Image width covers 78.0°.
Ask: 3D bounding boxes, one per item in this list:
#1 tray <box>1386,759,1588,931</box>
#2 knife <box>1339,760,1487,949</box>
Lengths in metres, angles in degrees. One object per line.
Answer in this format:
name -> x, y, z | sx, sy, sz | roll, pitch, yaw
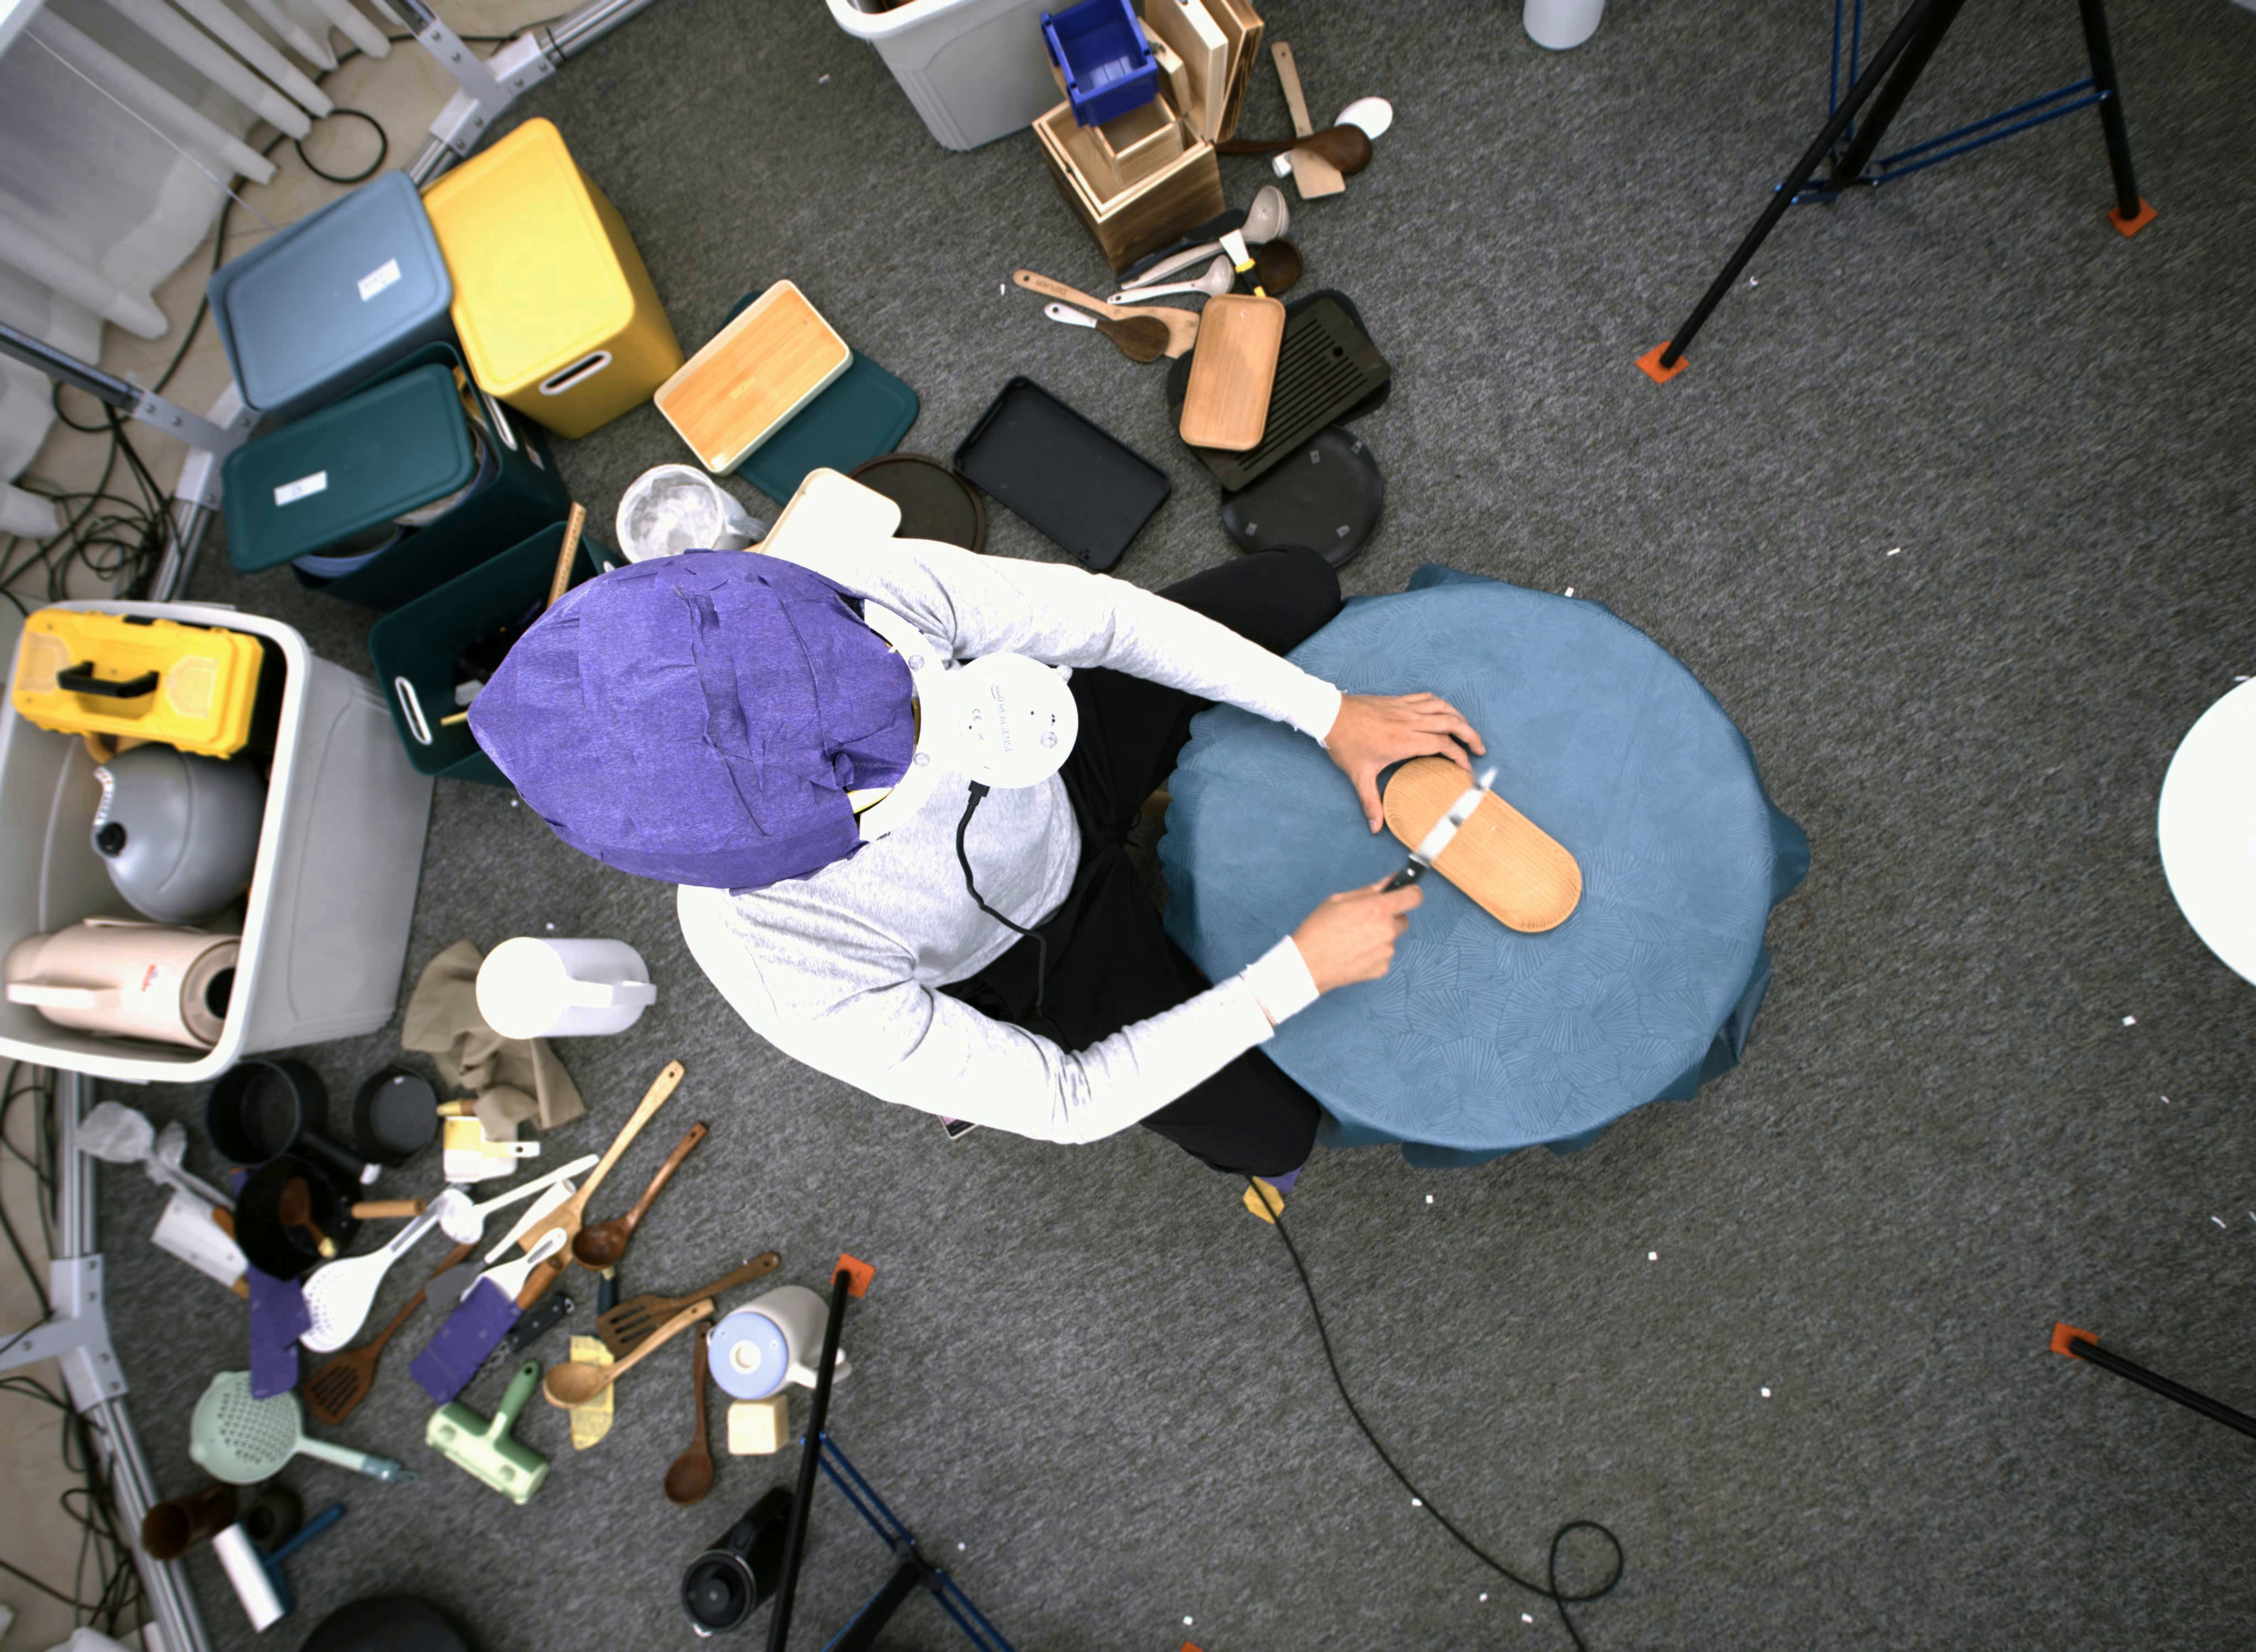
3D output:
tray -> 0.373, 0.017, 1.436 | 0.230, 0.020, 0.102 | 37, 96, 9
knife -> 0.284, 0.026, 1.348 | 0.024, 0.016, 0.237 | 34, 83, 38
